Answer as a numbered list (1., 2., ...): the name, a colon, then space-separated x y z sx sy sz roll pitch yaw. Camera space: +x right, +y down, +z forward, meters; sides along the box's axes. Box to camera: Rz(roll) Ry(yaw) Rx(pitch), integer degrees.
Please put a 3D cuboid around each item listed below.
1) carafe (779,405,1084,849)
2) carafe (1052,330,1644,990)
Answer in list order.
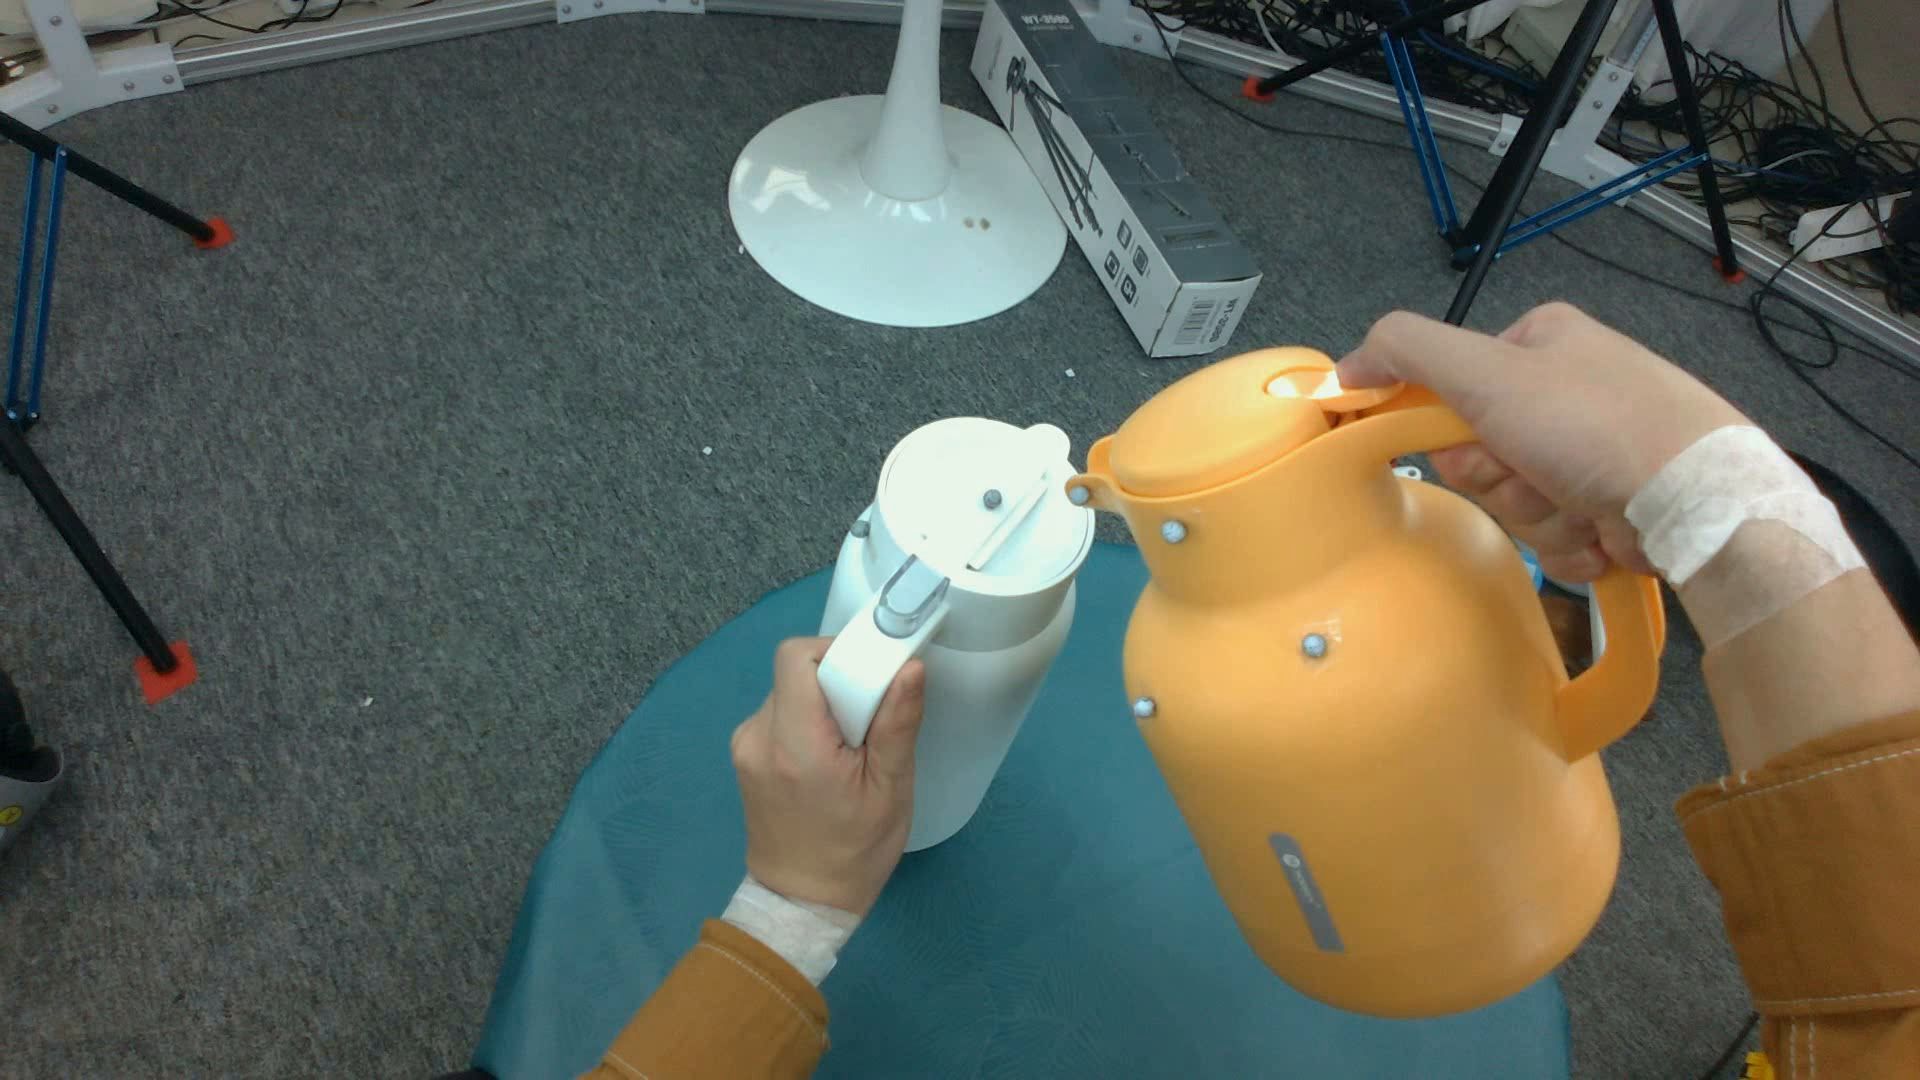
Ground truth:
1. carafe: -0.028 0.066 0.698 0.124 0.267 0.173 34 53 7
2. carafe: 0.160 0.042 0.538 0.201 0.260 0.164 -9 32 41
